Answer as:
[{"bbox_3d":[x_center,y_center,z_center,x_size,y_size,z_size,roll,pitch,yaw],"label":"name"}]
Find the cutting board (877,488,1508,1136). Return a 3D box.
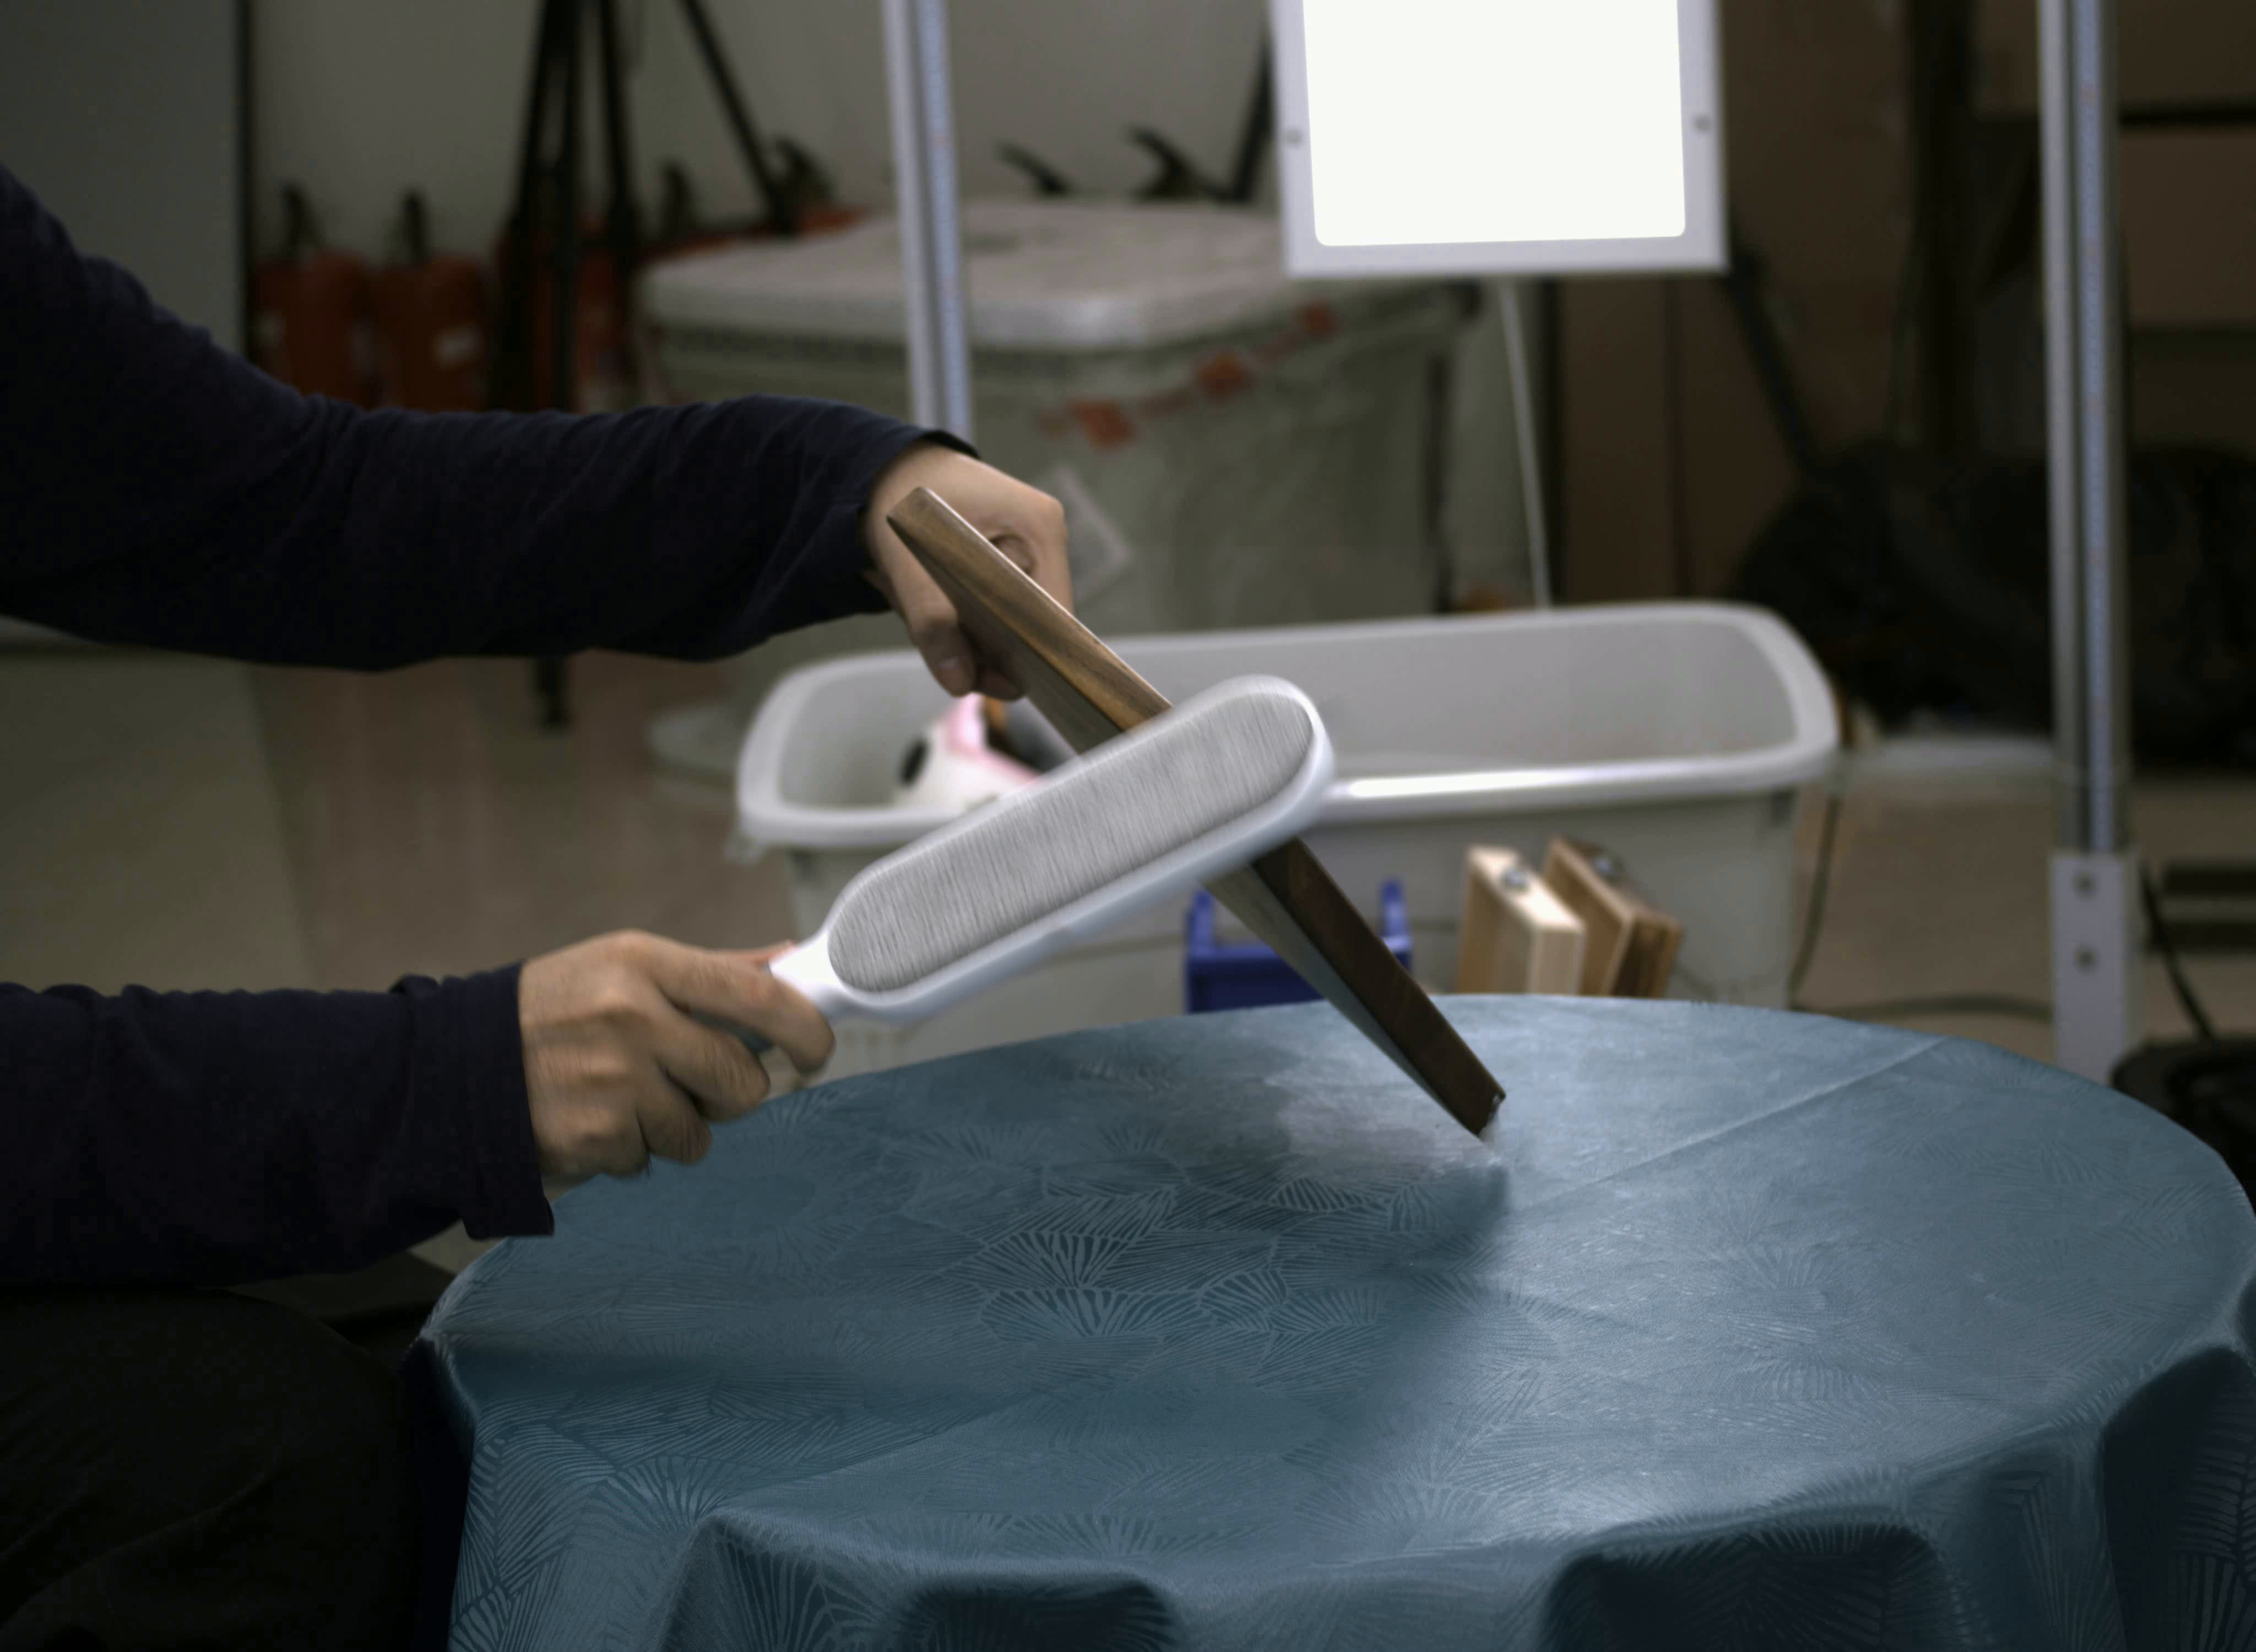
[{"bbox_3d":[-0.001,-0.028,1.981,0.023,0.198,0.357,-43,40,-3],"label":"cutting board"}]

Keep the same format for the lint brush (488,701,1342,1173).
[{"bbox_3d":[-0.071,0.039,1.755,0.312,0.060,0.020,-25,-34,15],"label":"lint brush"}]
